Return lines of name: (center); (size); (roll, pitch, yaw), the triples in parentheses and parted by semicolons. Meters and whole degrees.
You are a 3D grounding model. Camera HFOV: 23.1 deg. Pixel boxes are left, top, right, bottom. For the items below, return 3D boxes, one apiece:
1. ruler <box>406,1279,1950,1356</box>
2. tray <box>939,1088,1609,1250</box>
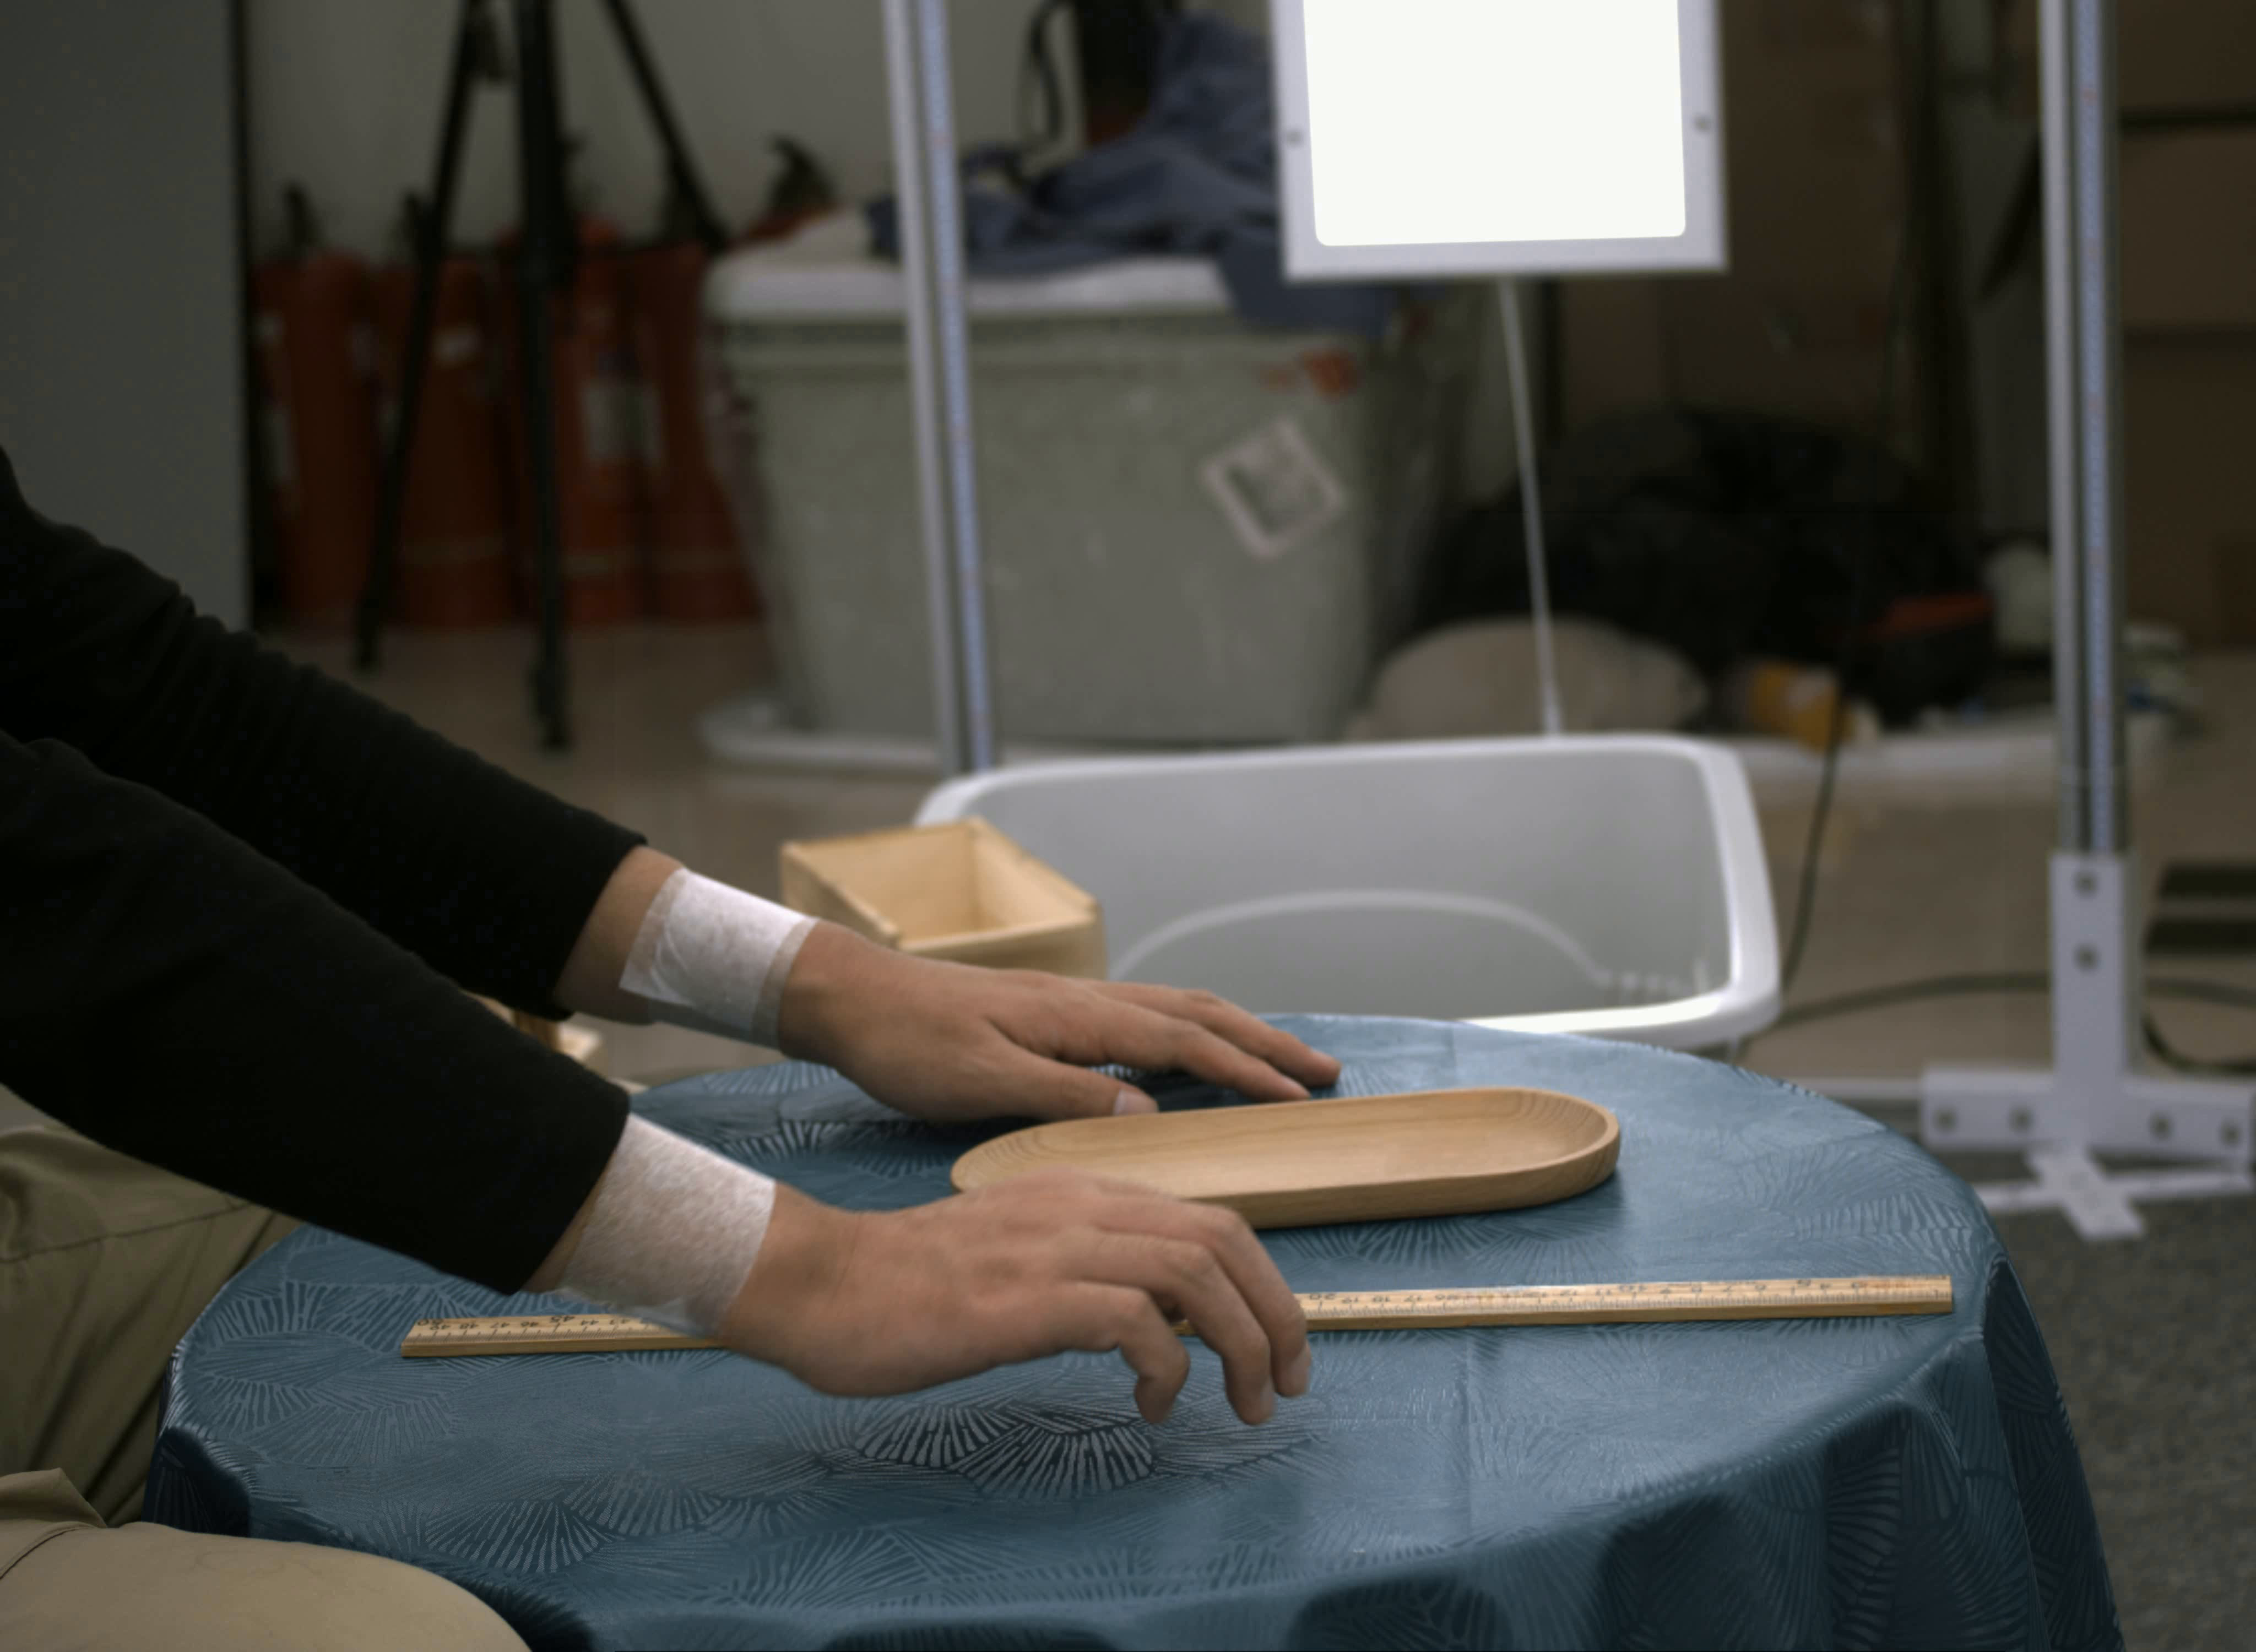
ruler: (0.013, 0.157, 1.760); (0.503, 0.006, 0.026); (-2, 12, 11)
tray: (0.051, 0.118, 1.882); (0.230, 0.020, 0.101); (-7, 12, 0)
